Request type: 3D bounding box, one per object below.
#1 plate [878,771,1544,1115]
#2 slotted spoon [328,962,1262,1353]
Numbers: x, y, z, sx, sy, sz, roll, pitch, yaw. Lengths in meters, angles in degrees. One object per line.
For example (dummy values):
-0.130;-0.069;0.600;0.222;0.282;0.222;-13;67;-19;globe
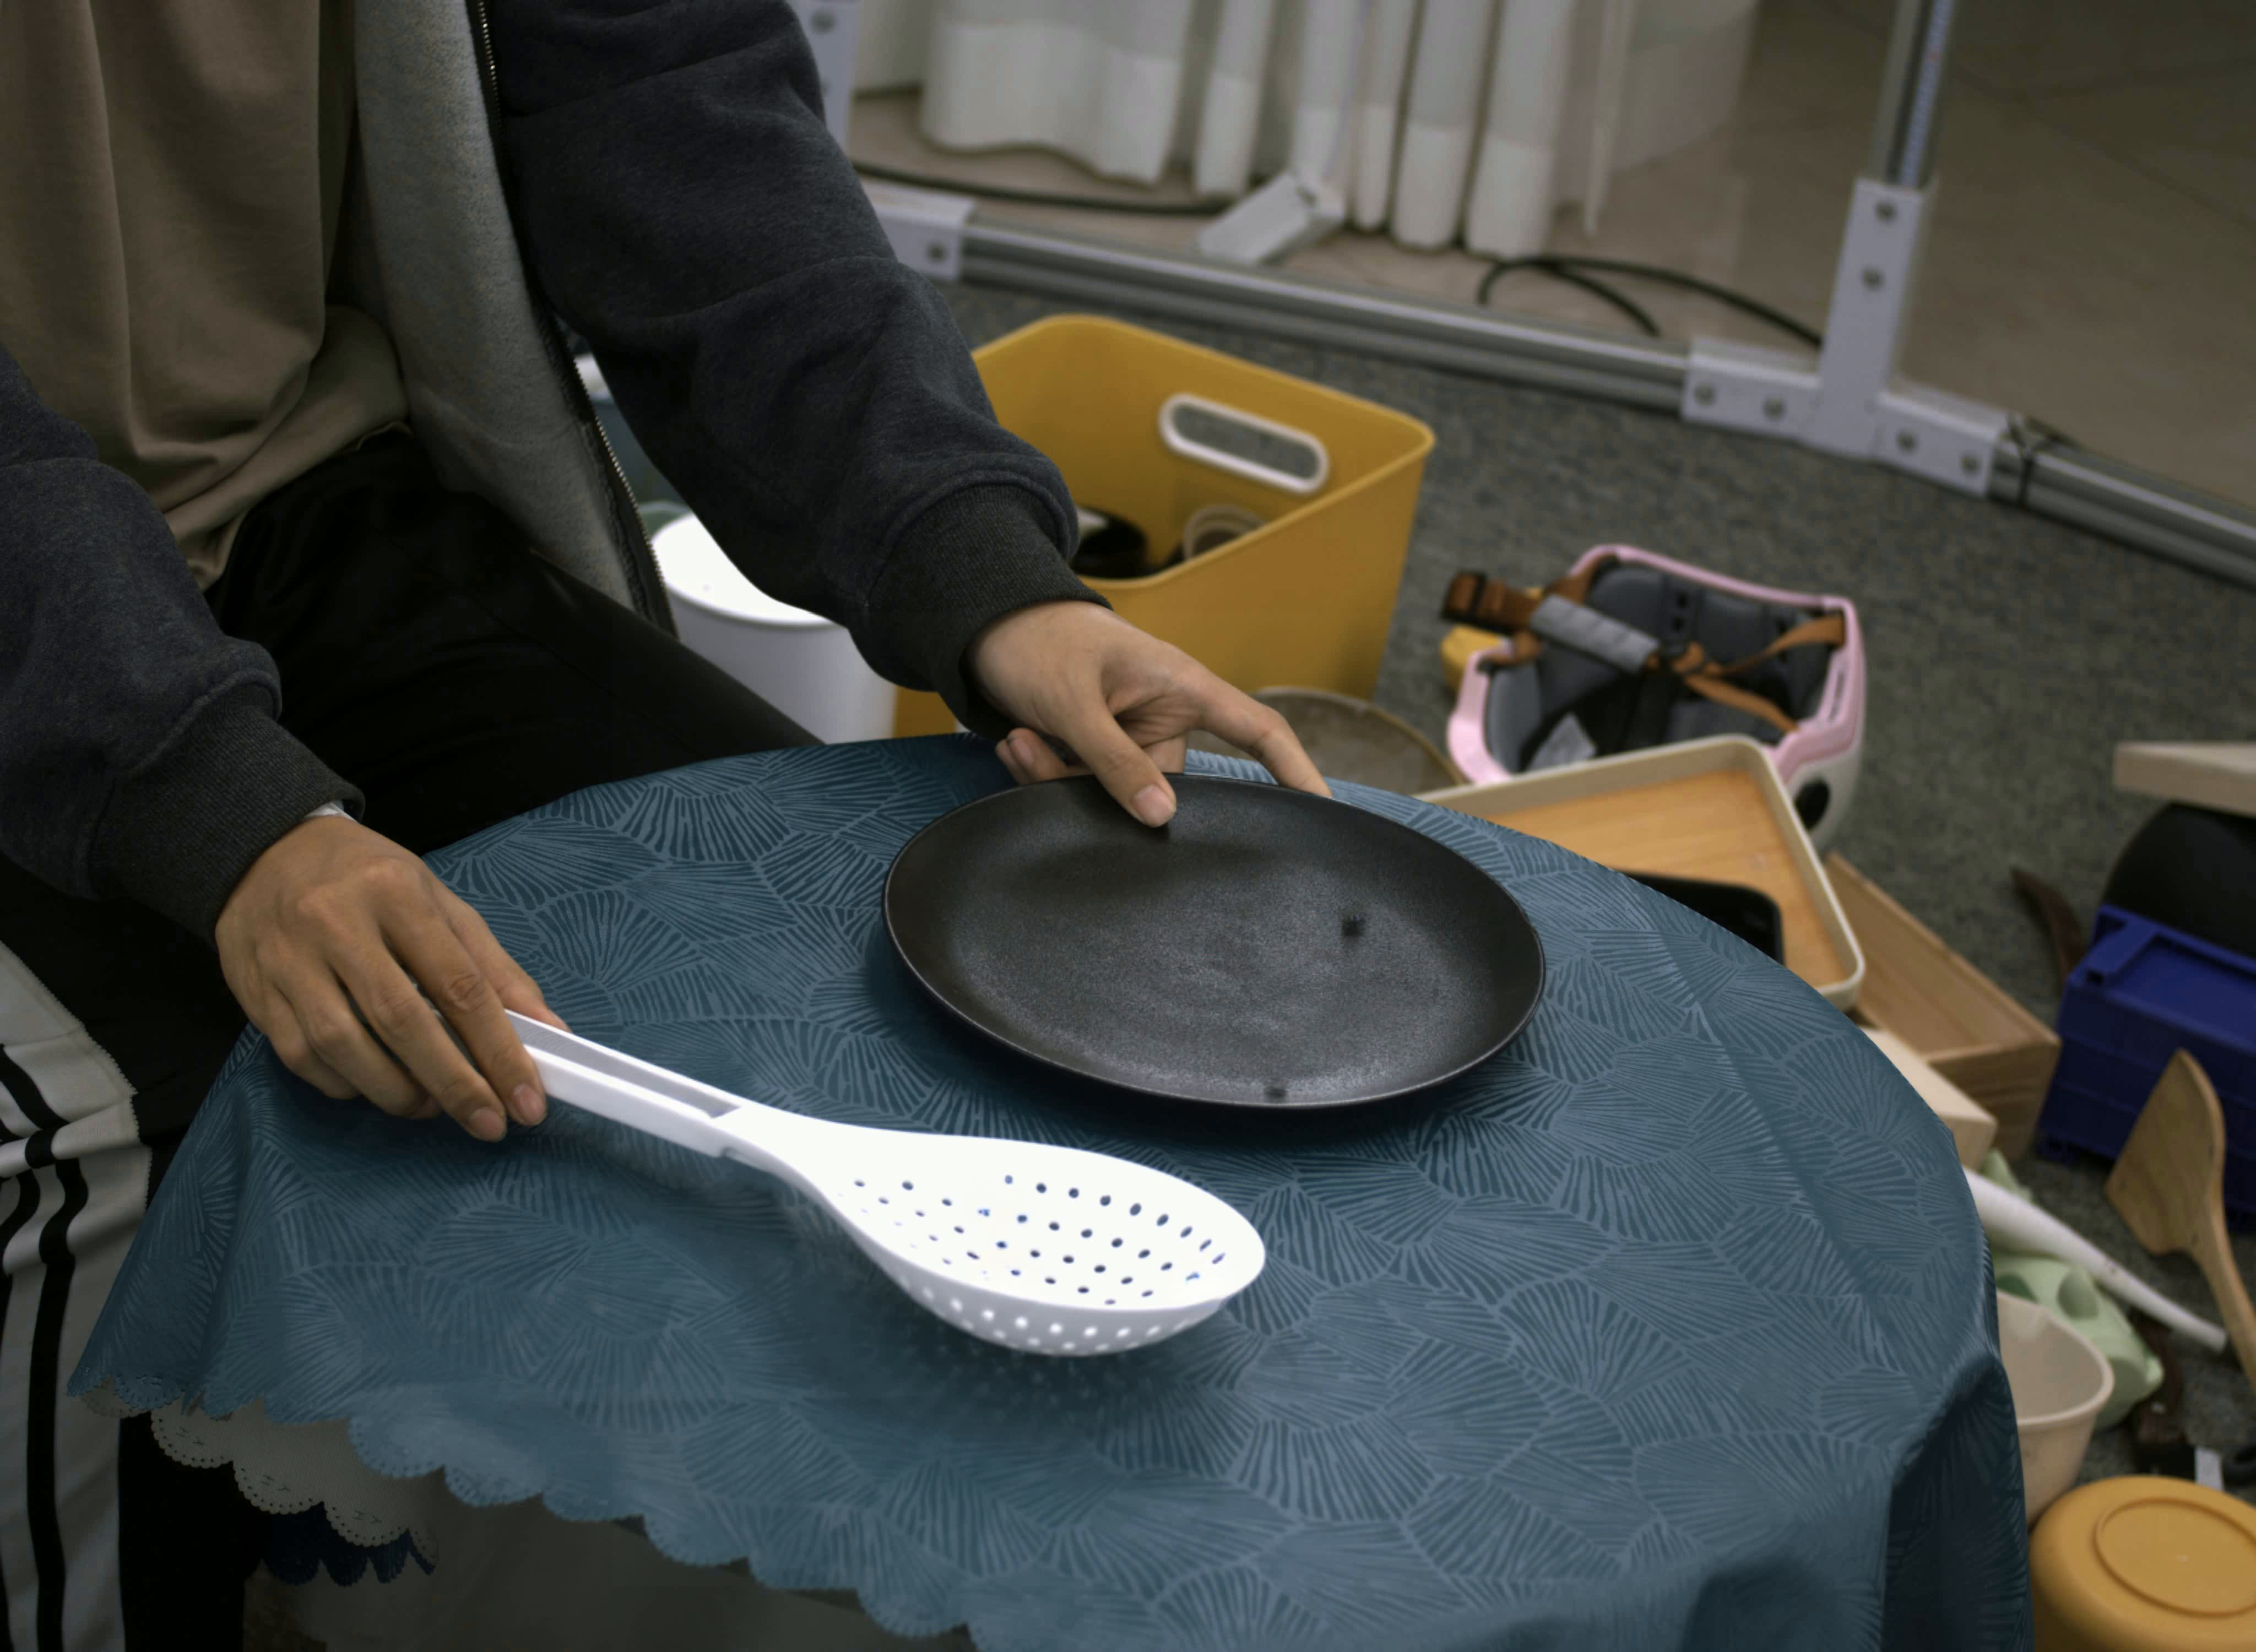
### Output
0.029;0.046;1.931;0.243;0.023;0.246;5;28;-3;plate
-0.118;0.103;1.749;0.351;0.045;0.135;23;18;24;slotted spoon
